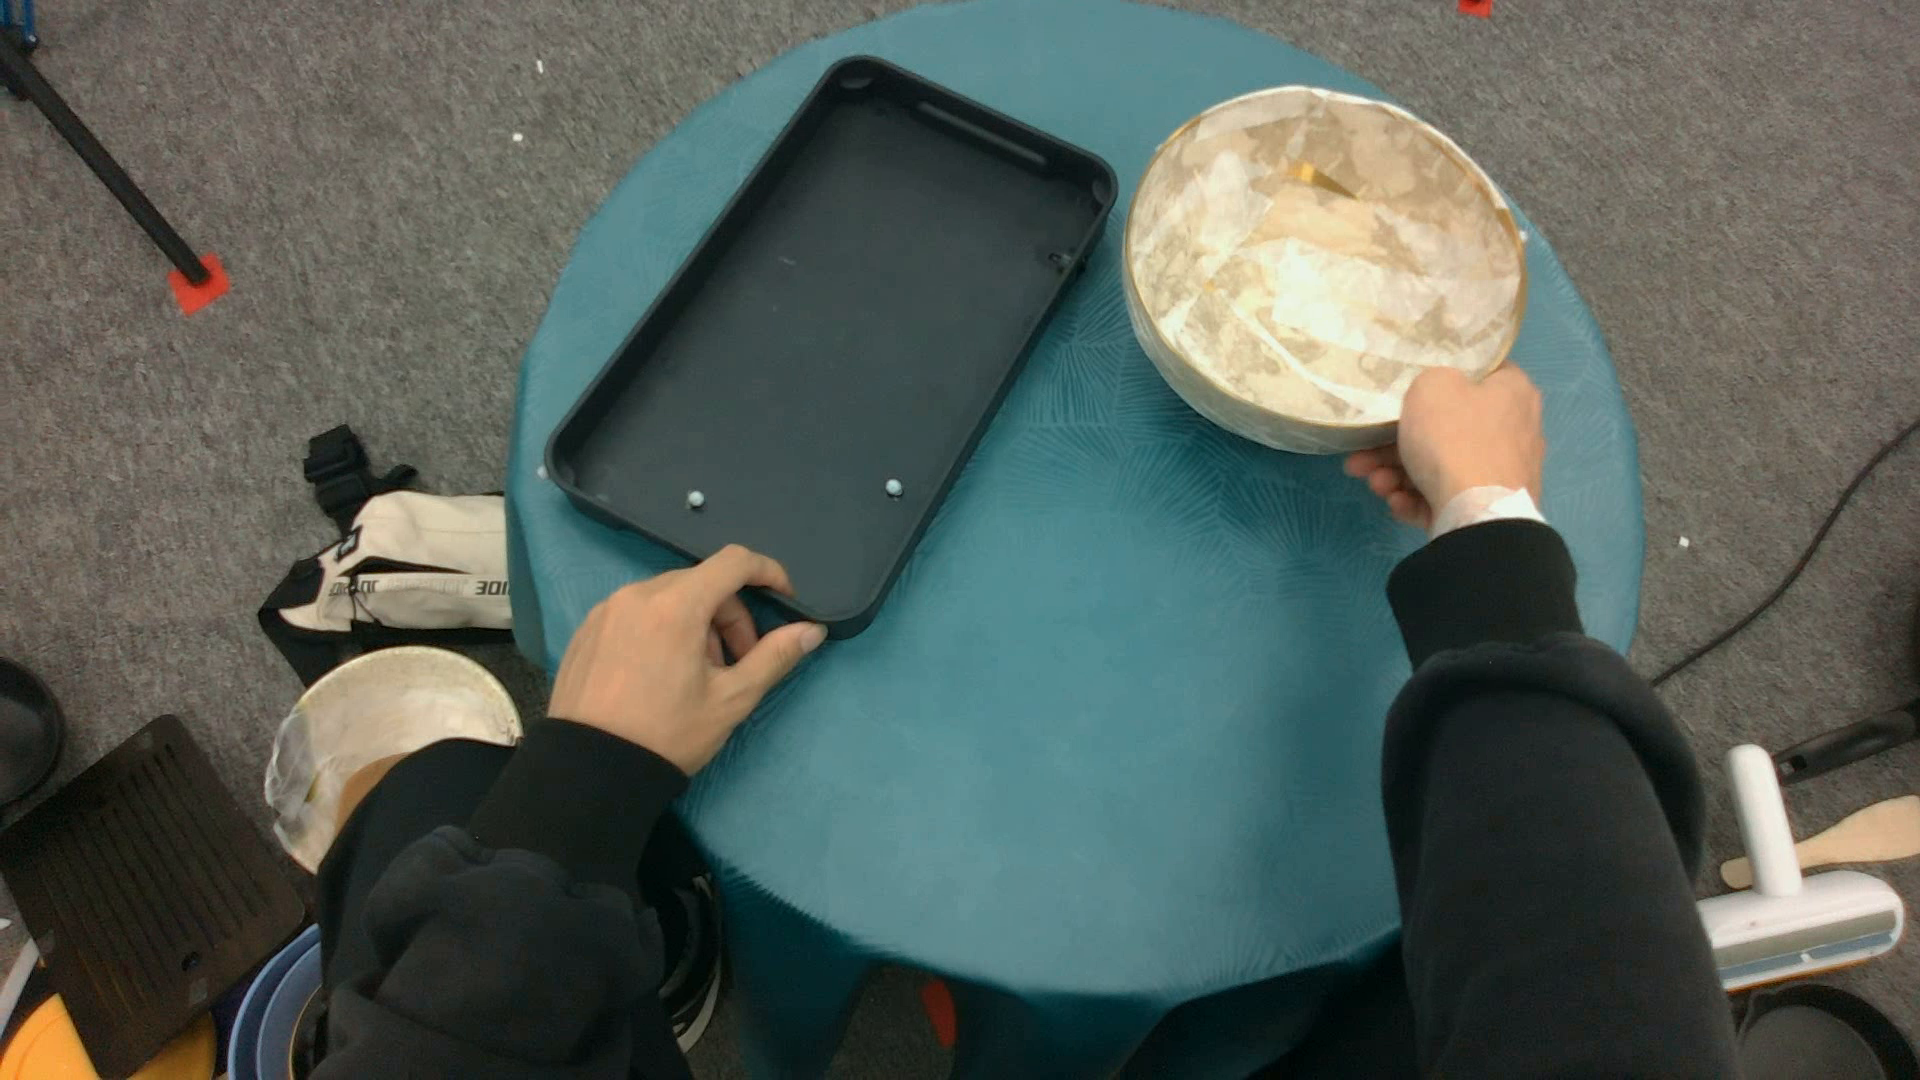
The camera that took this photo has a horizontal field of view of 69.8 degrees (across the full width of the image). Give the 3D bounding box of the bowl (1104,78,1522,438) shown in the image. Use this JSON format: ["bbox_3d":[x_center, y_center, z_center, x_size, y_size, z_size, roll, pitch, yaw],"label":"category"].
[{"bbox_3d":[0.170,-0.131,0.720,0.215,0.094,0.215,2,65,-4],"label":"bowl"}]

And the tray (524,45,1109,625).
[{"bbox_3d":[-0.066,-0.121,0.733,0.184,0.037,0.319,28,66,8],"label":"tray"}]
